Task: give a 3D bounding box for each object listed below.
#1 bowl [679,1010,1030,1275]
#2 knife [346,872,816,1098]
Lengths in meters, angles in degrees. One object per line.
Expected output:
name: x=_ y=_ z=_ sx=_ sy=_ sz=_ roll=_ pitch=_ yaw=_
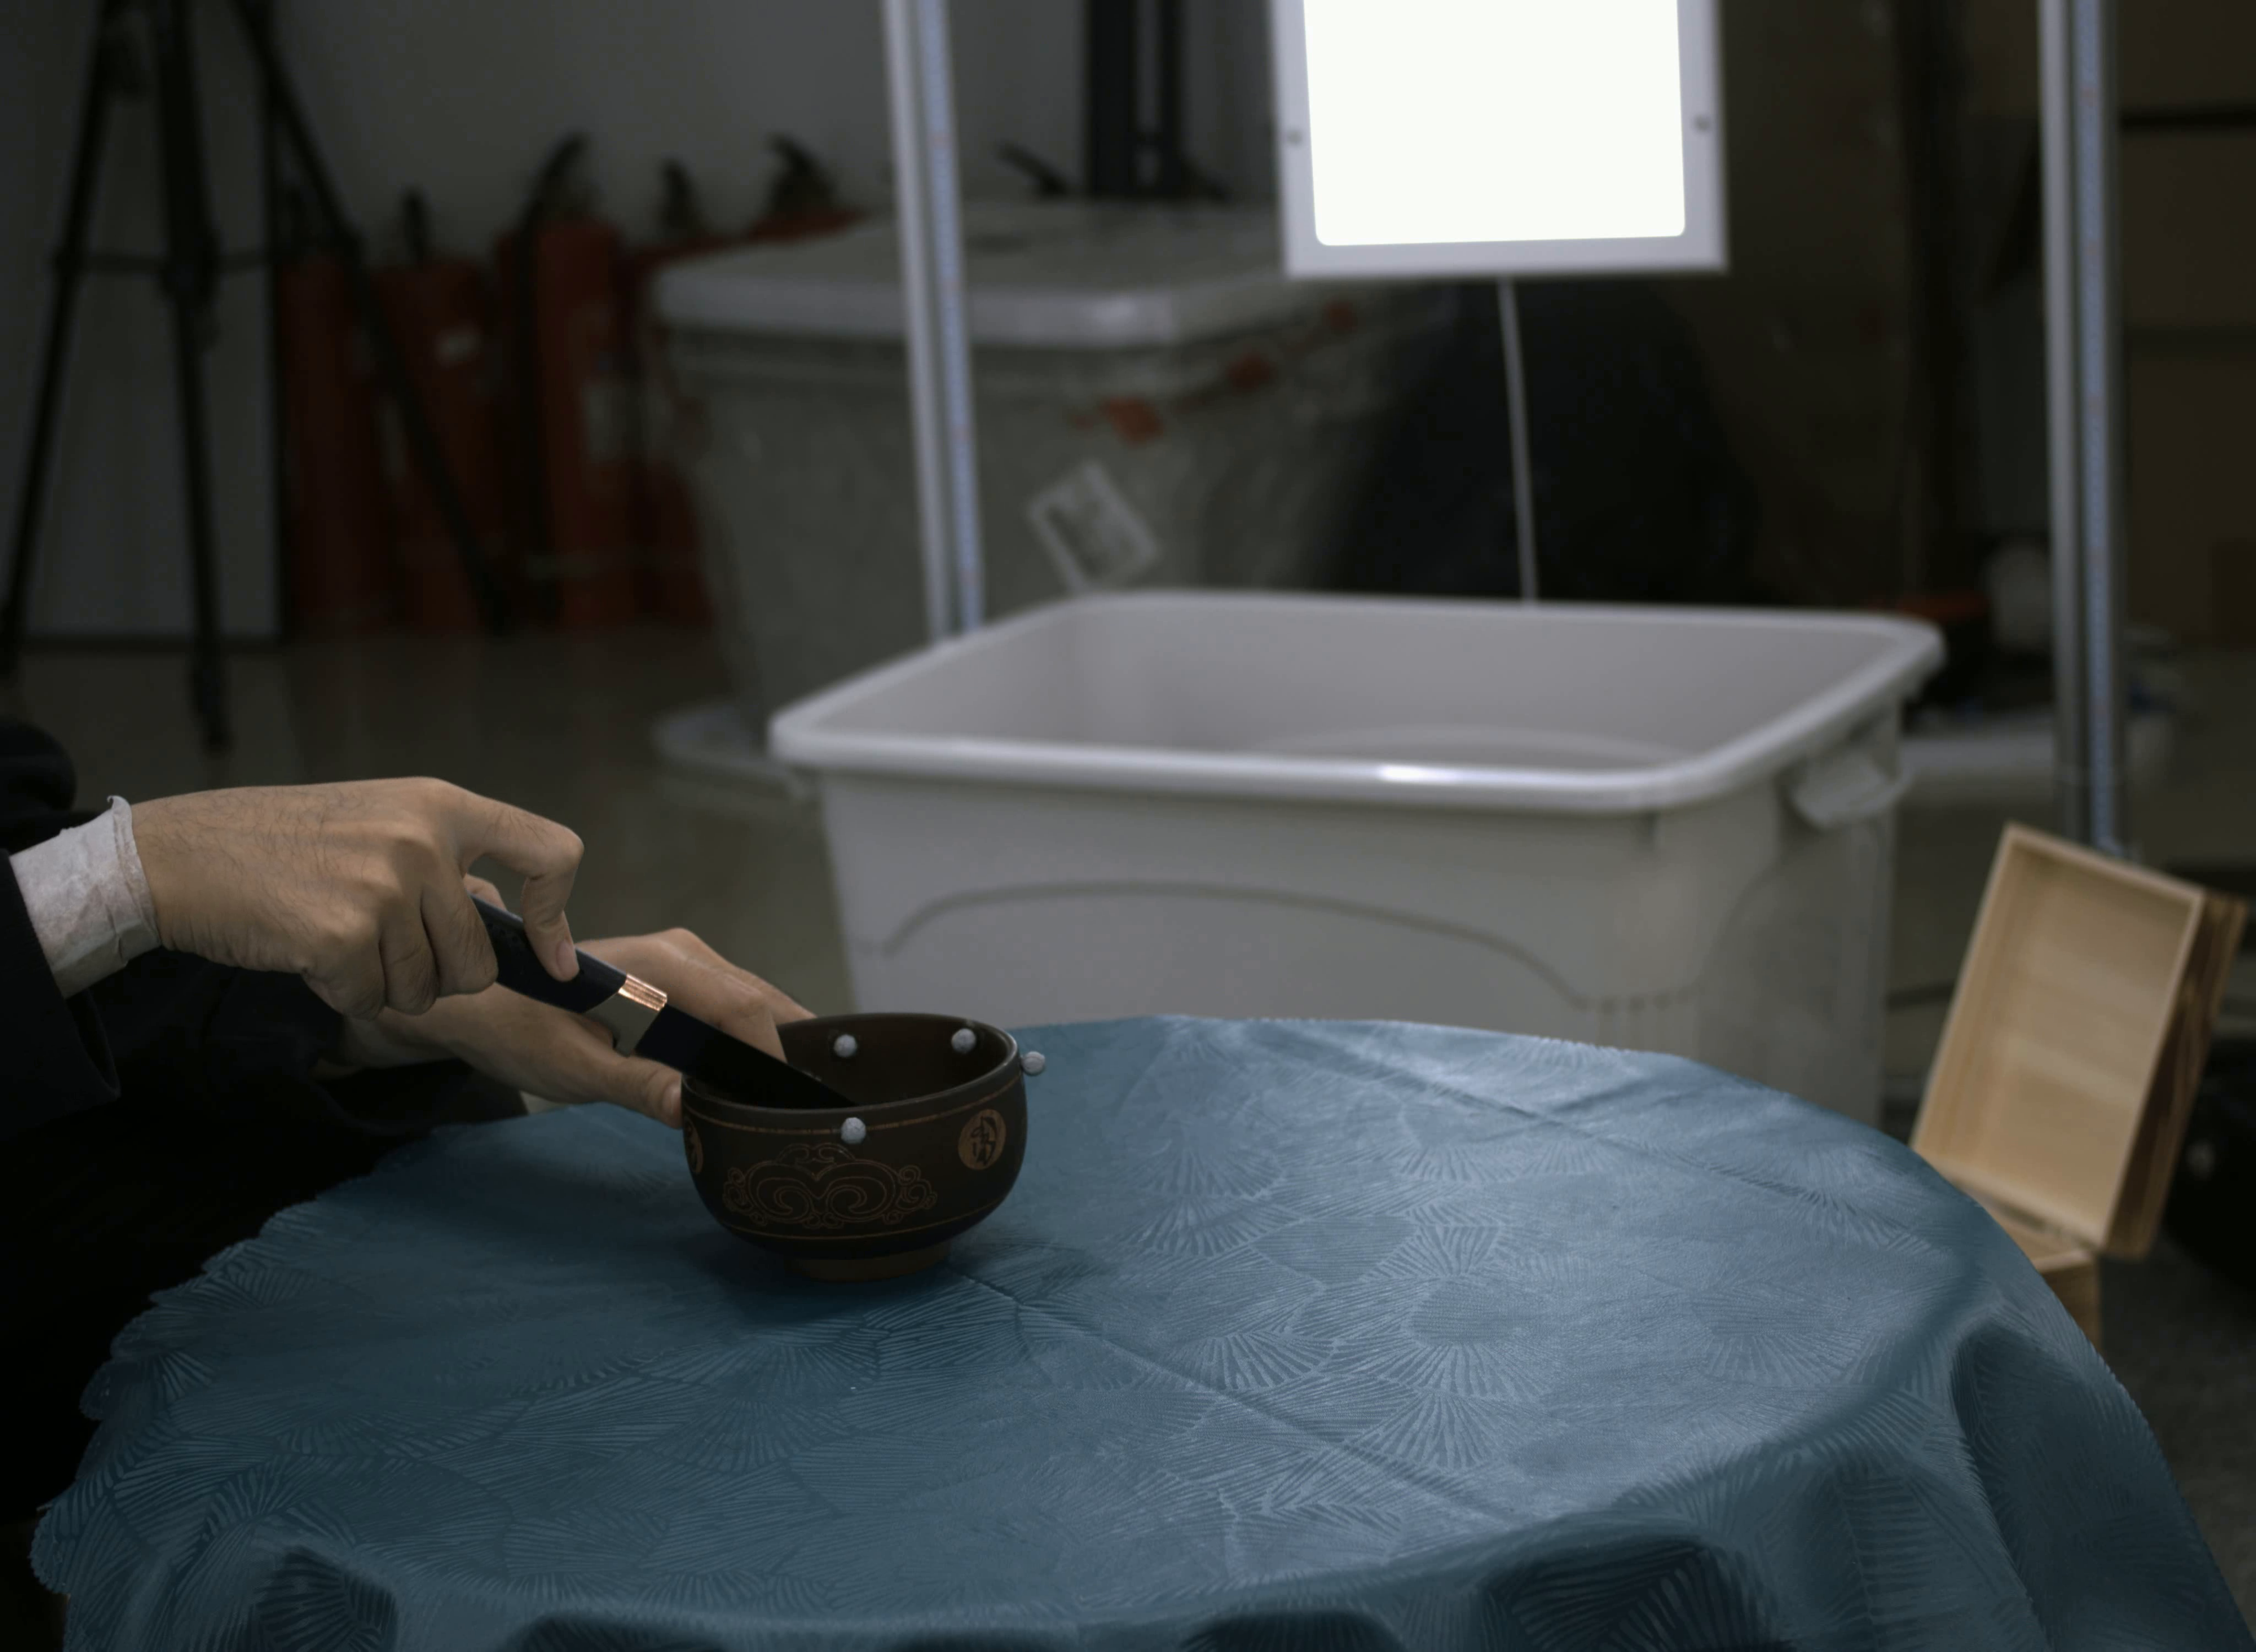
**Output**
bowl: x=-0.089 y=0.109 z=1.843 sx=0.118 sy=0.070 sz=0.118 roll=-6 pitch=12 yaw=0
knife: x=-0.158 y=0.067 z=1.828 sx=0.223 sy=0.017 sz=0.026 roll=26 pitch=-18 yaw=-17
